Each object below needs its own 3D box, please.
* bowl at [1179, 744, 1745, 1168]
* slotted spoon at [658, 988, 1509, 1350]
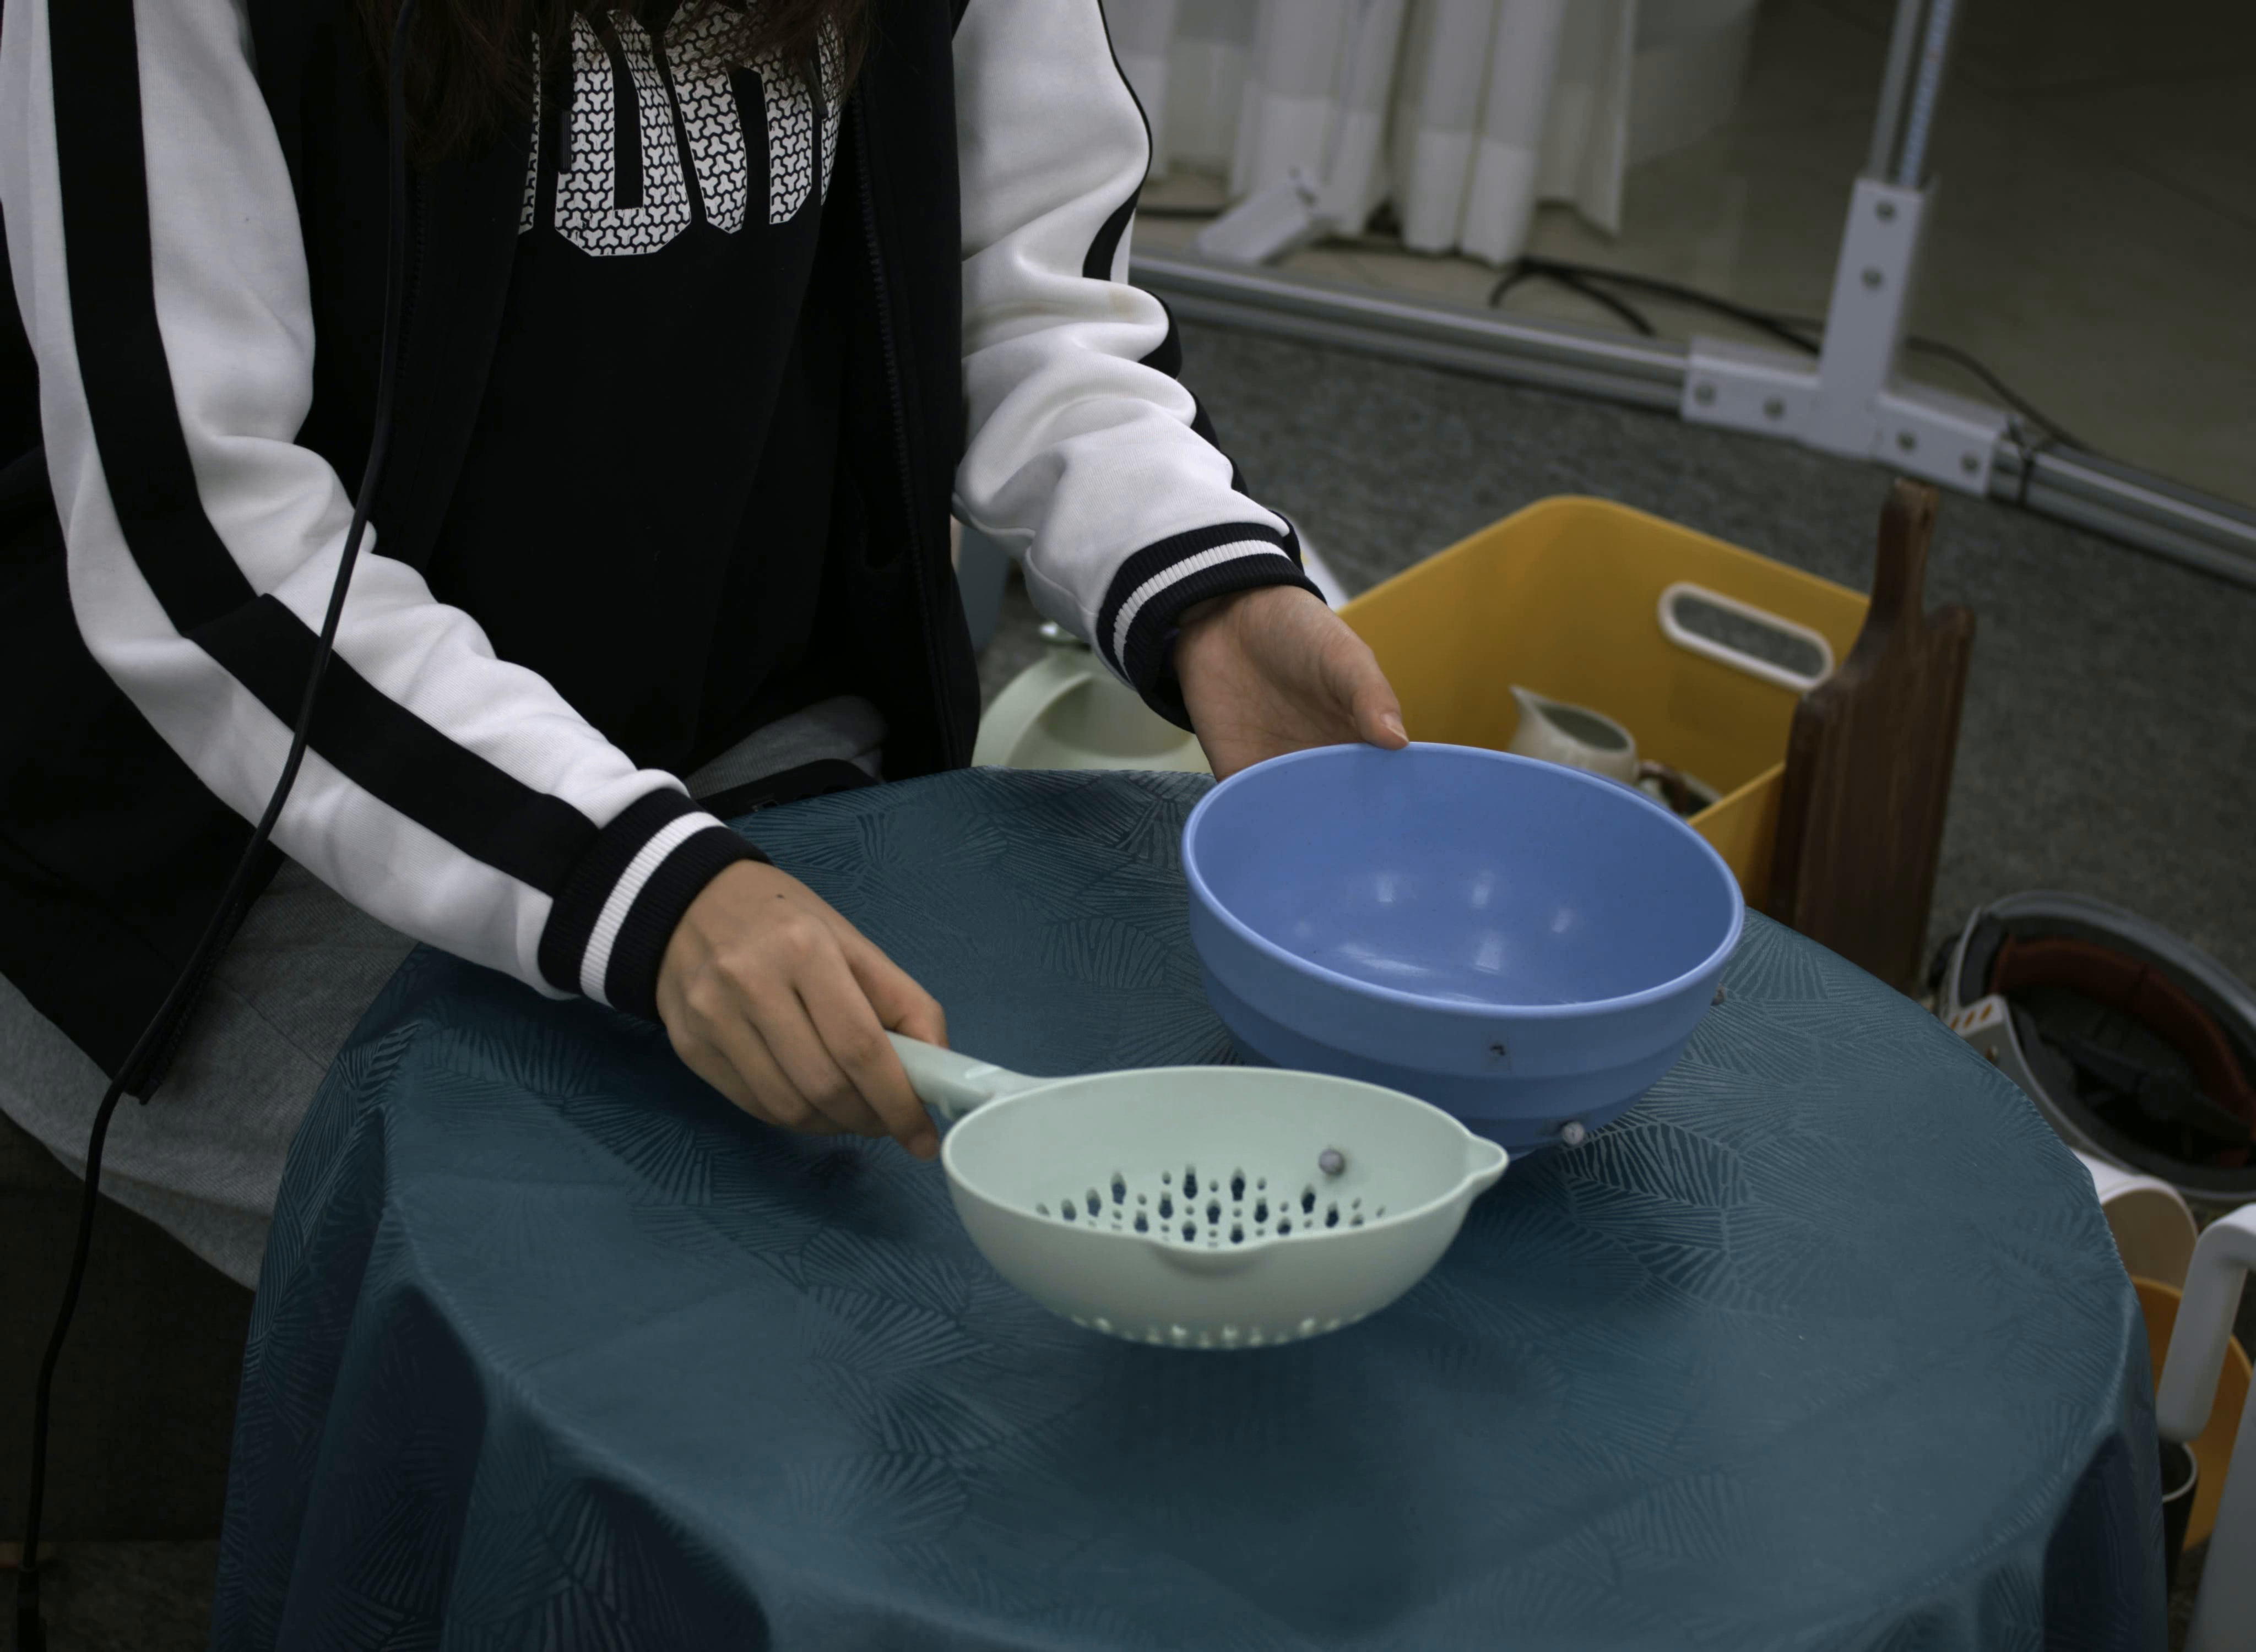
[{"bbox_3d":[0.111,0.057,1.855,0.196,0.095,0.197,4,27,-3],"label":"bowl"},{"bbox_3d":[-0.040,0.096,1.736,0.168,0.075,0.361,-12,26,-40],"label":"slotted spoon"}]
